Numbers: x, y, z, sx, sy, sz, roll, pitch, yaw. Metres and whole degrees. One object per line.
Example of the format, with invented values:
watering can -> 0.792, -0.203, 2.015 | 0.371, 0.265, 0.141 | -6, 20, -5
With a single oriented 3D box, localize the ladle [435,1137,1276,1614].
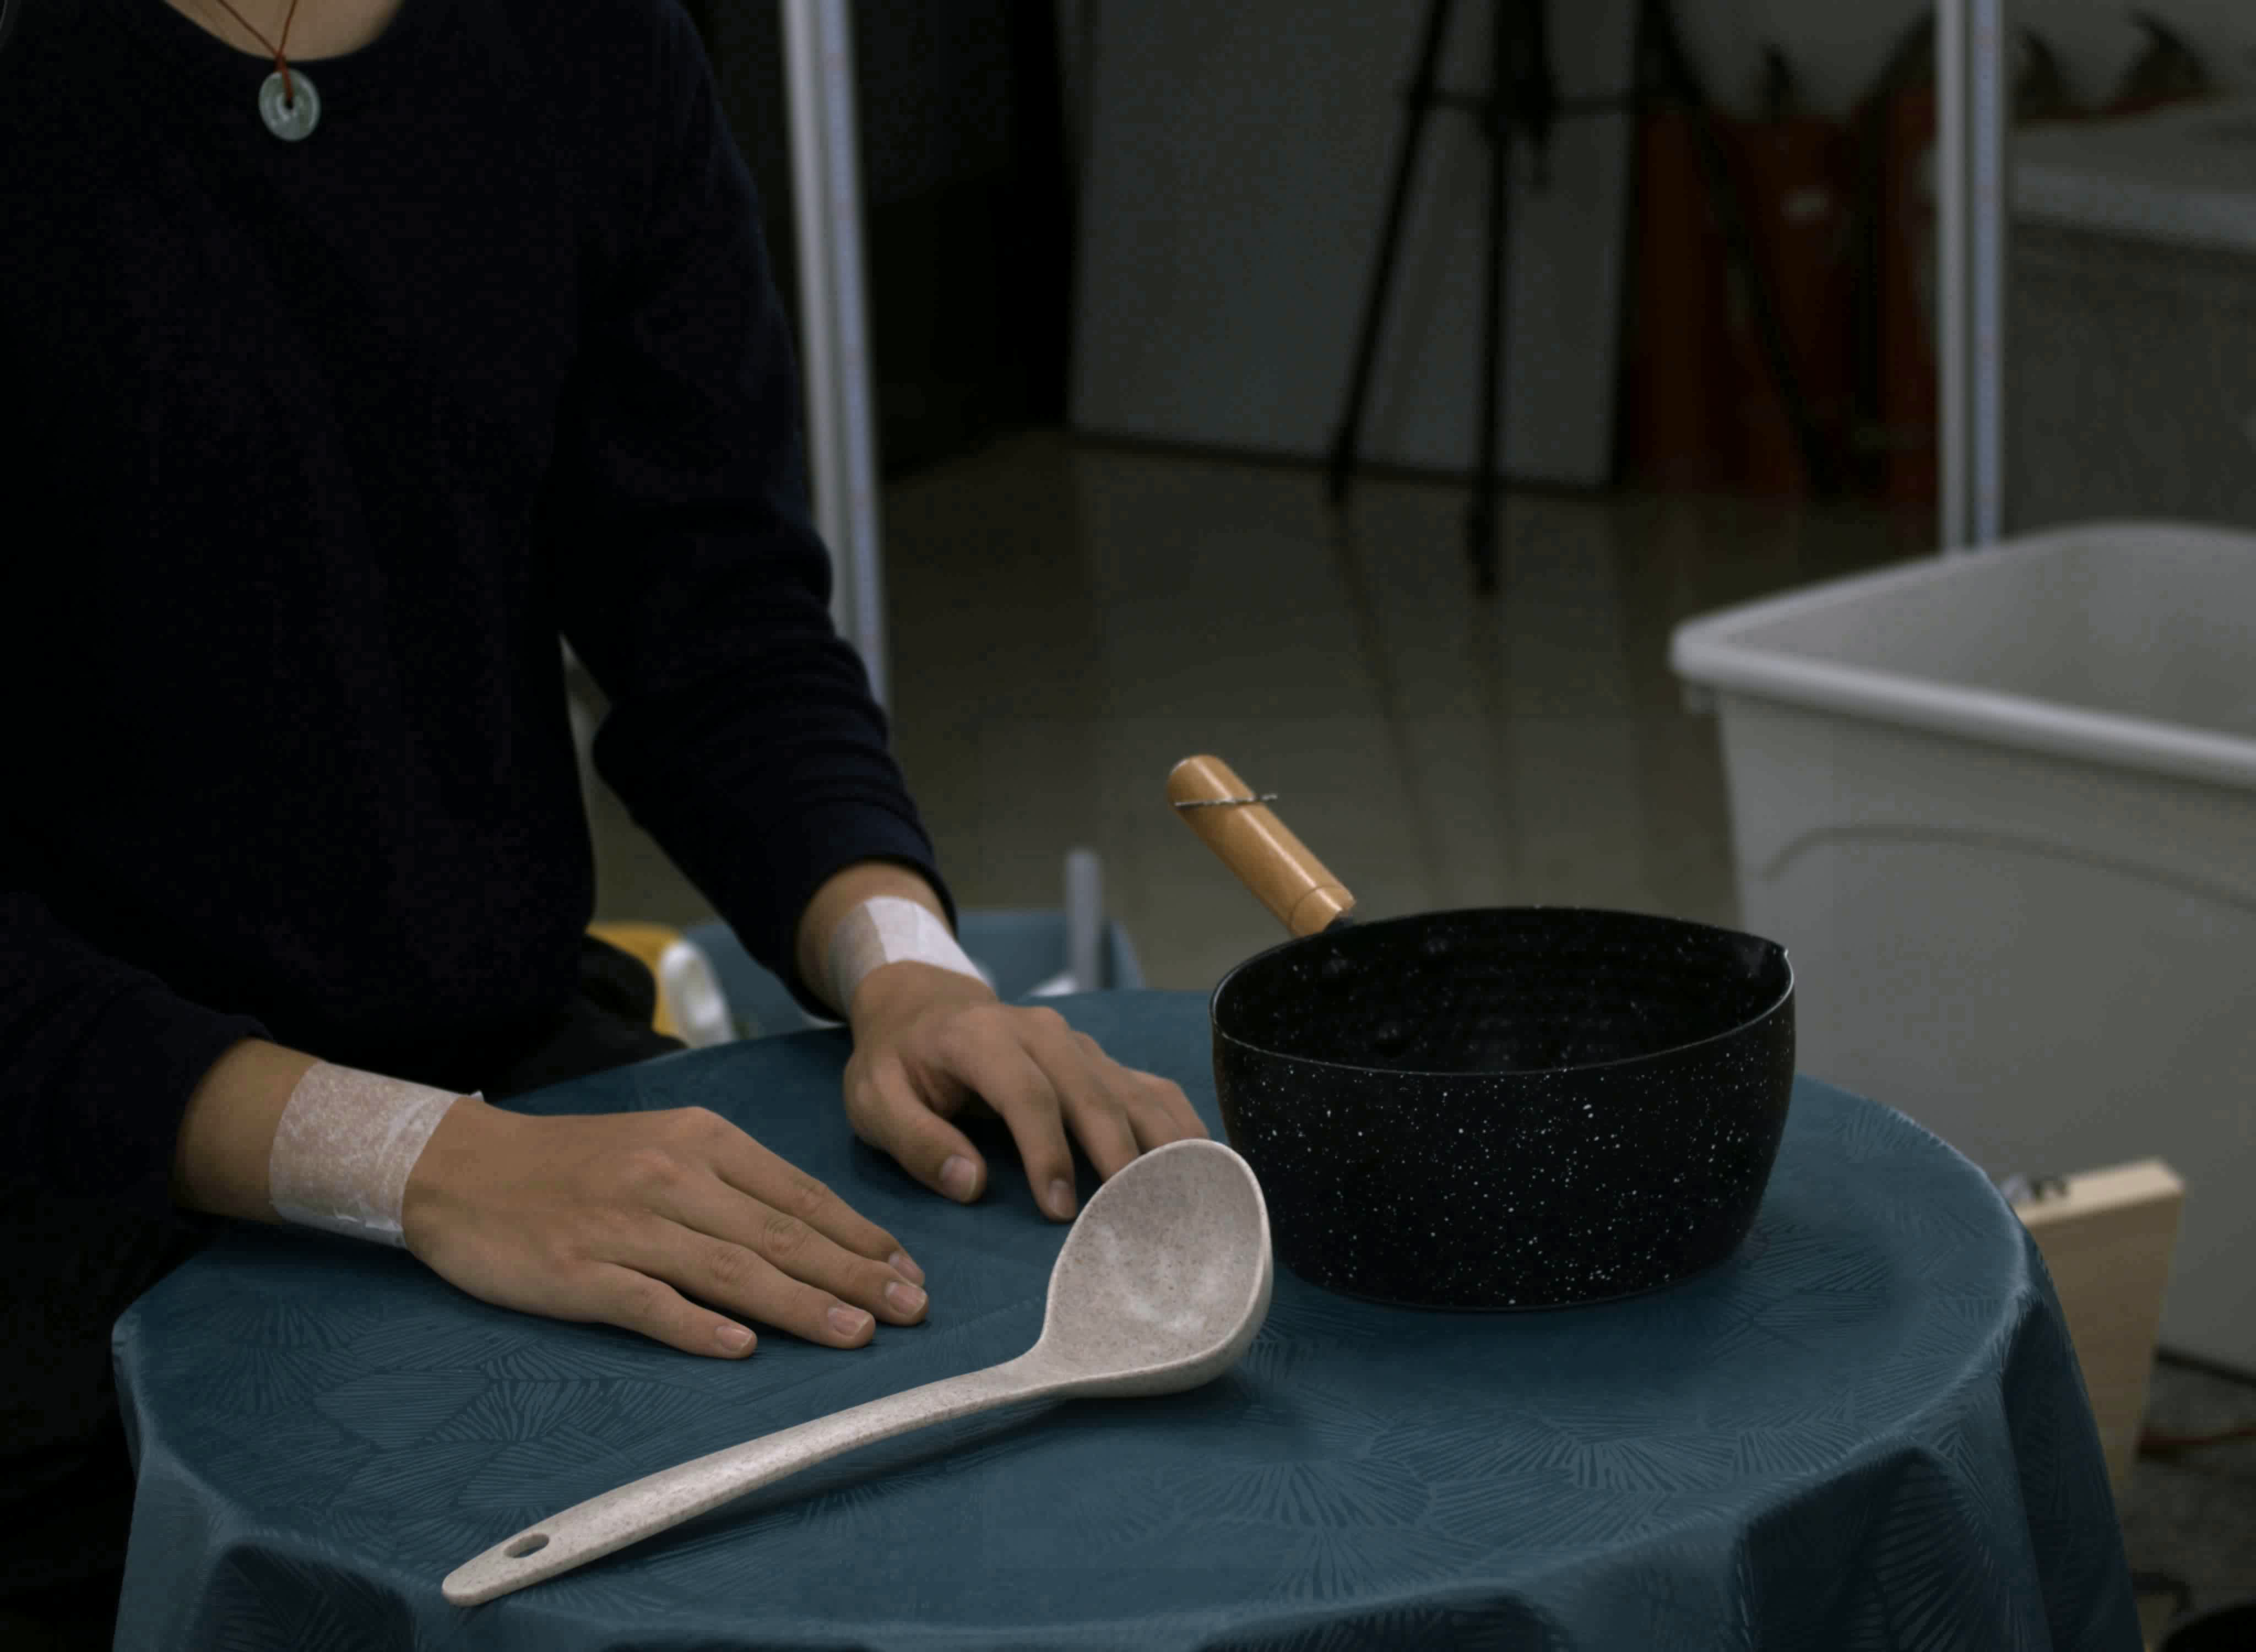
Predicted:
ladle -> -0.076, 0.152, 1.527 | 0.269, 0.070, 0.090 | -14, 24, -33

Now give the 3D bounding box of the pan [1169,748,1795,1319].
pan -> 0.087, 0.062, 1.758 | 0.203, 0.109, 0.346 | -11, 16, -21
